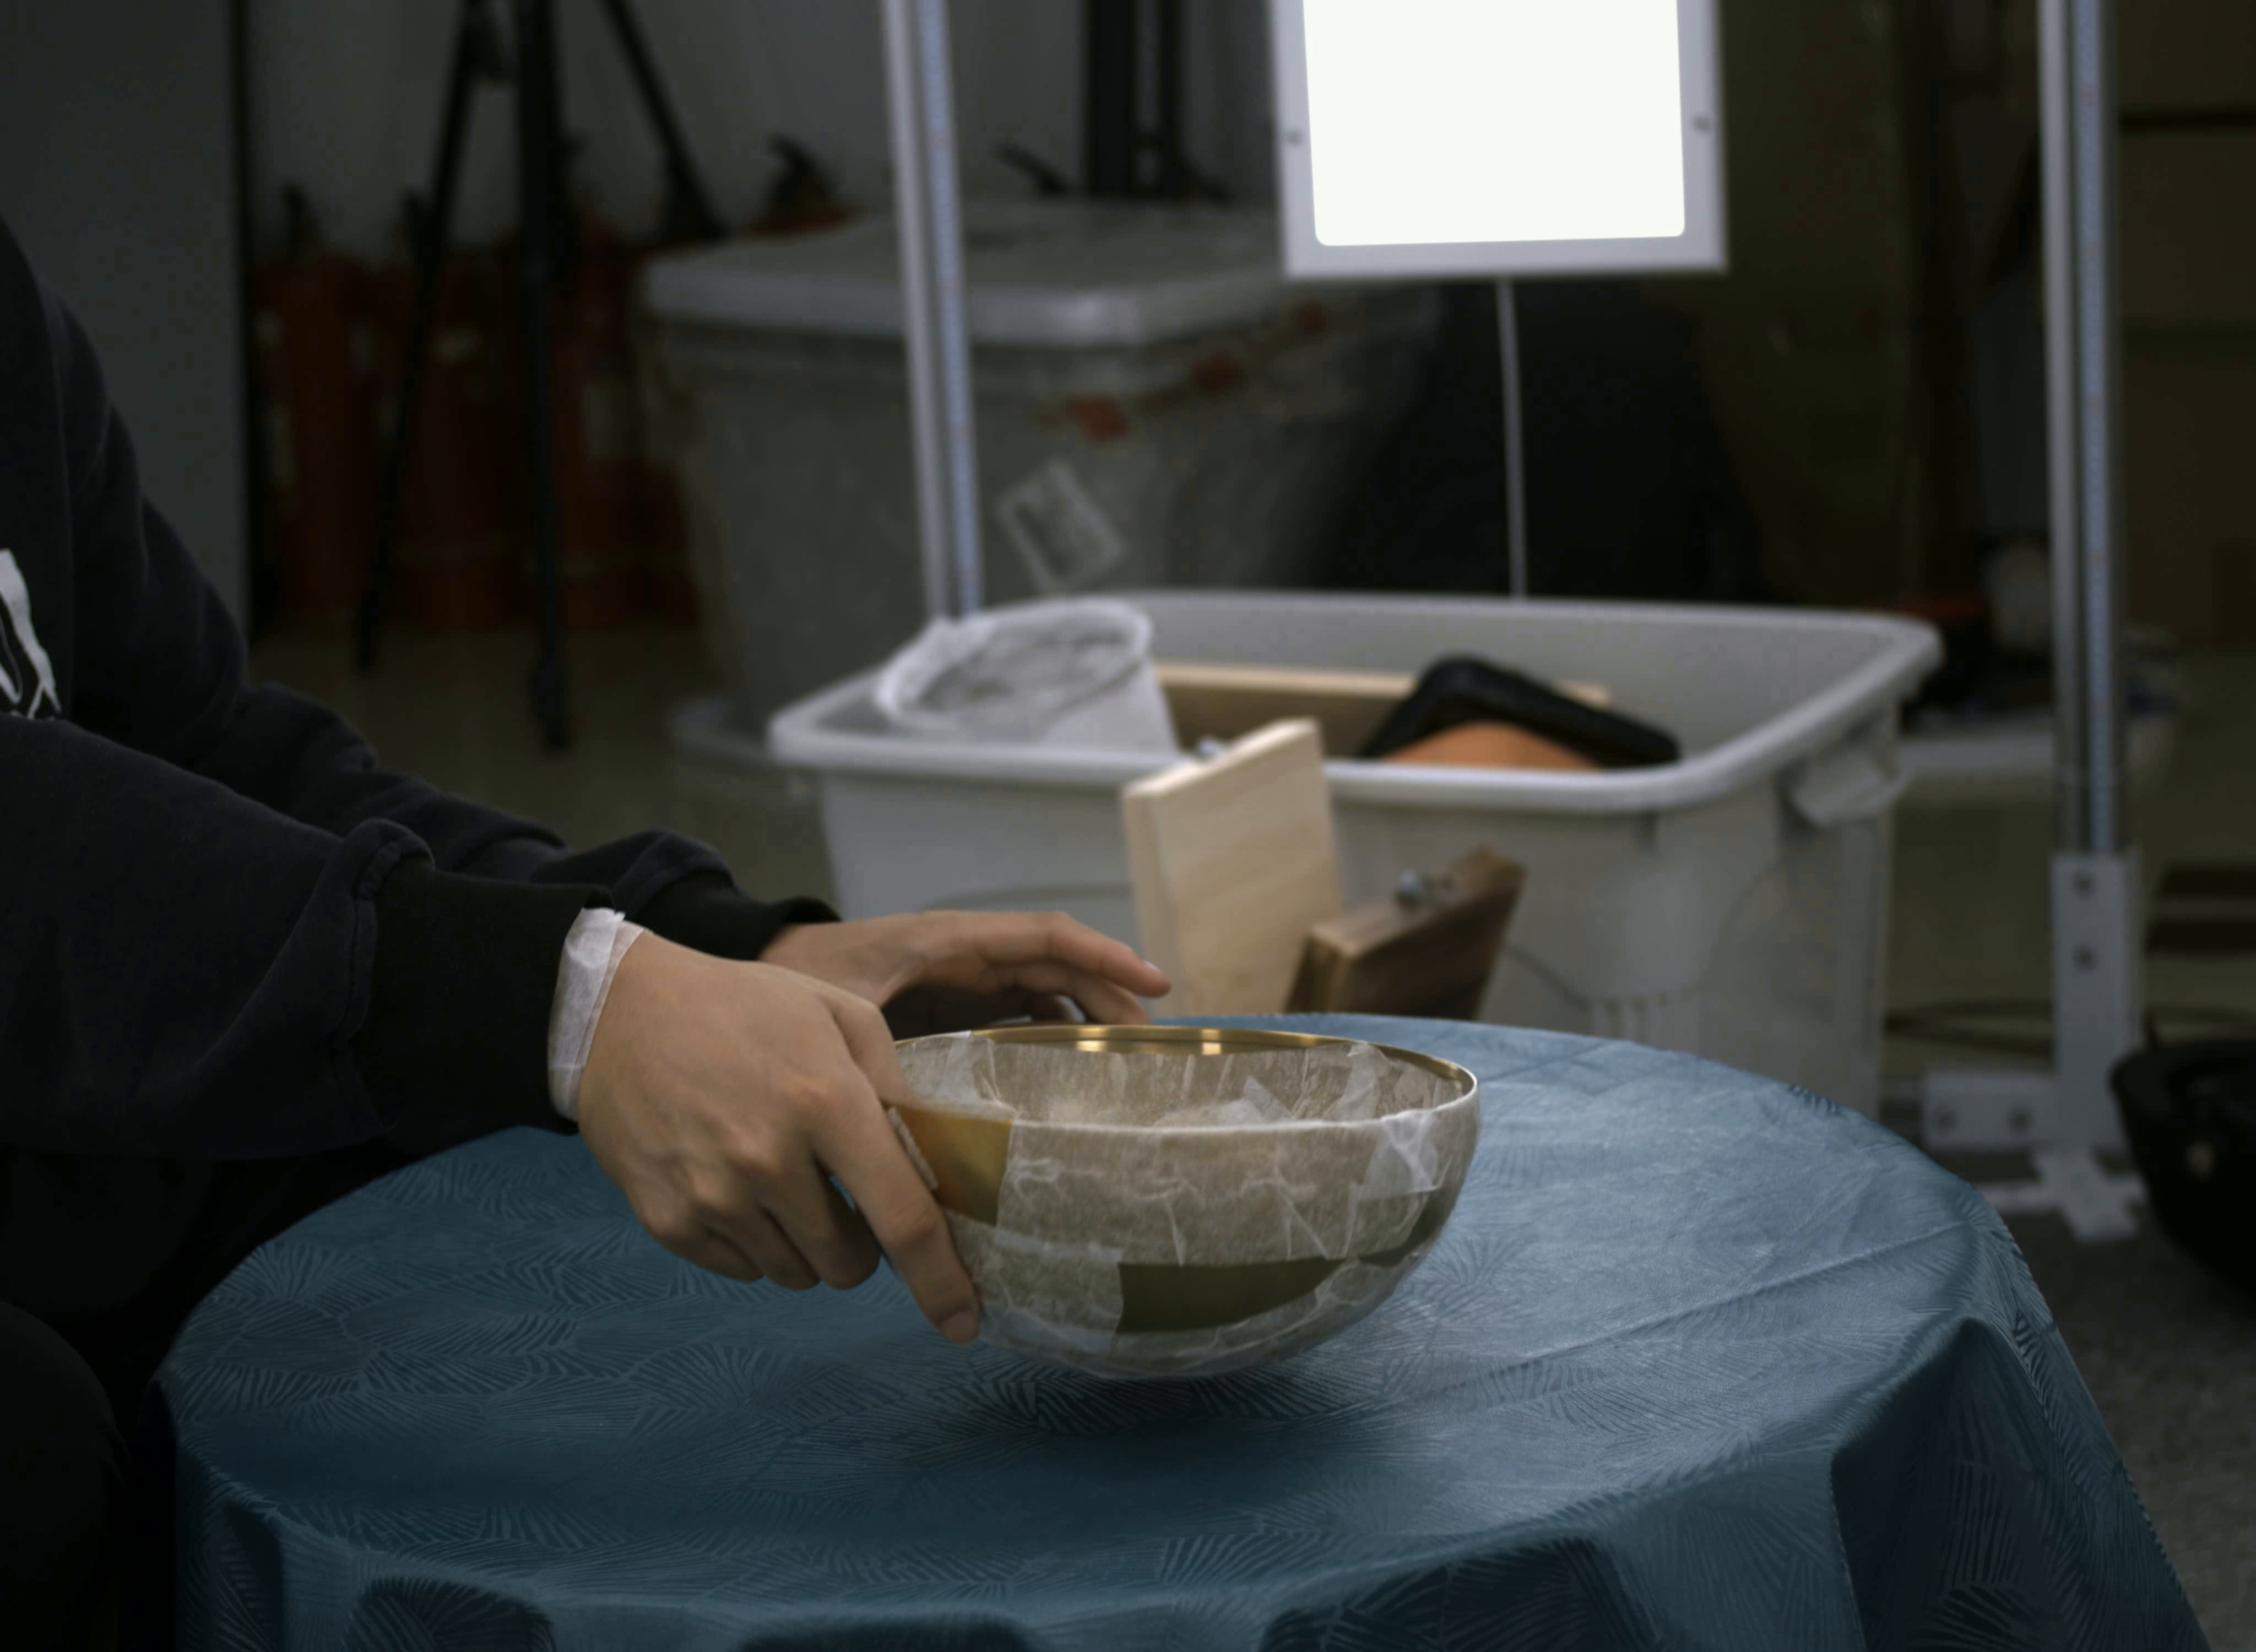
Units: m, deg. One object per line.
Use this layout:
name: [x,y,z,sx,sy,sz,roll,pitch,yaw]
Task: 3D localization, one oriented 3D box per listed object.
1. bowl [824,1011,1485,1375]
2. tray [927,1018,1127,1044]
bowl: [0.009,0.117,1.694,0.214,0.095,0.214,0,7,-1]
tray: [0.007,0.106,1.921,0.099,0.020,0.236,-21,26,-35]
